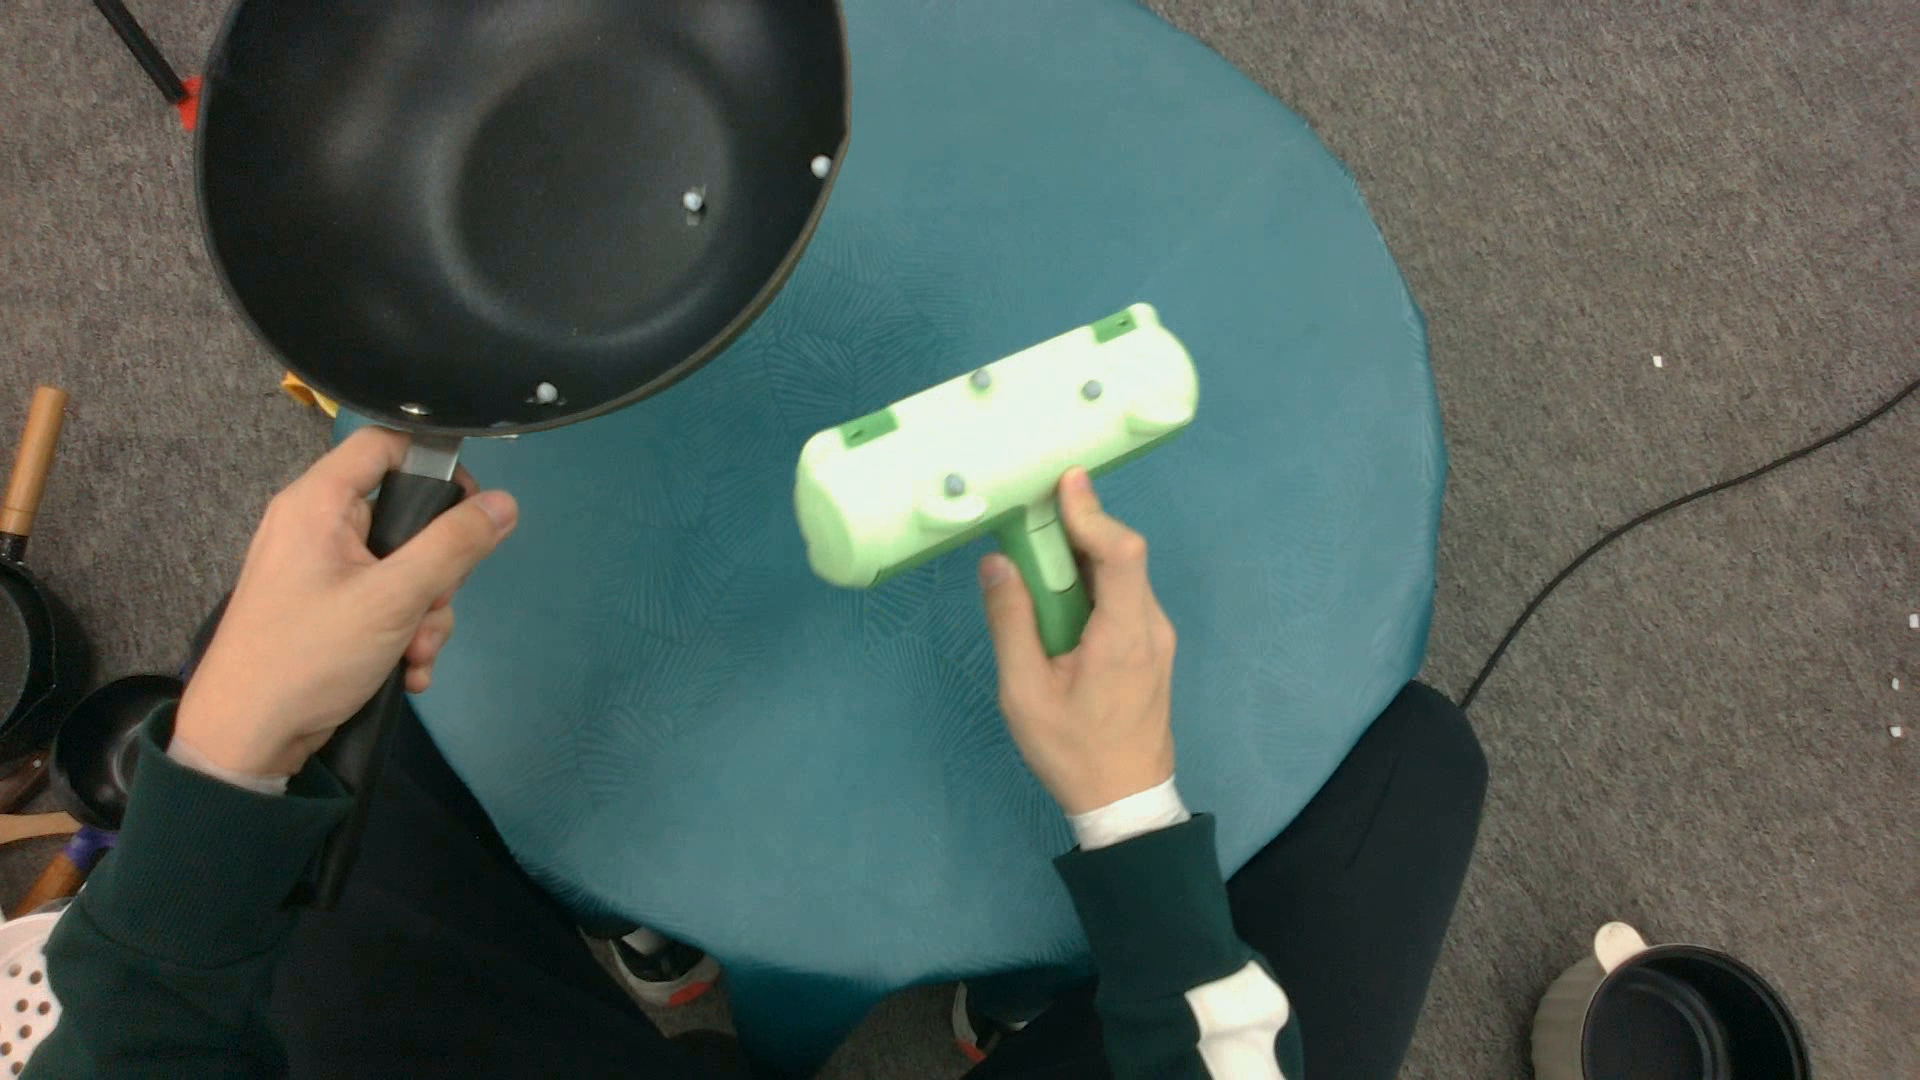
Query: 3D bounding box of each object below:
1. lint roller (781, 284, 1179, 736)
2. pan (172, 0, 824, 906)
[{"bbox_3d":[0.037,0.003,0.591,0.199,0.082,0.183,-27,101,-33],"label":"lint roller"},{"bbox_3d":[-0.202,-0.084,0.582,0.288,0.087,0.464,8,82,11],"label":"pan"}]
